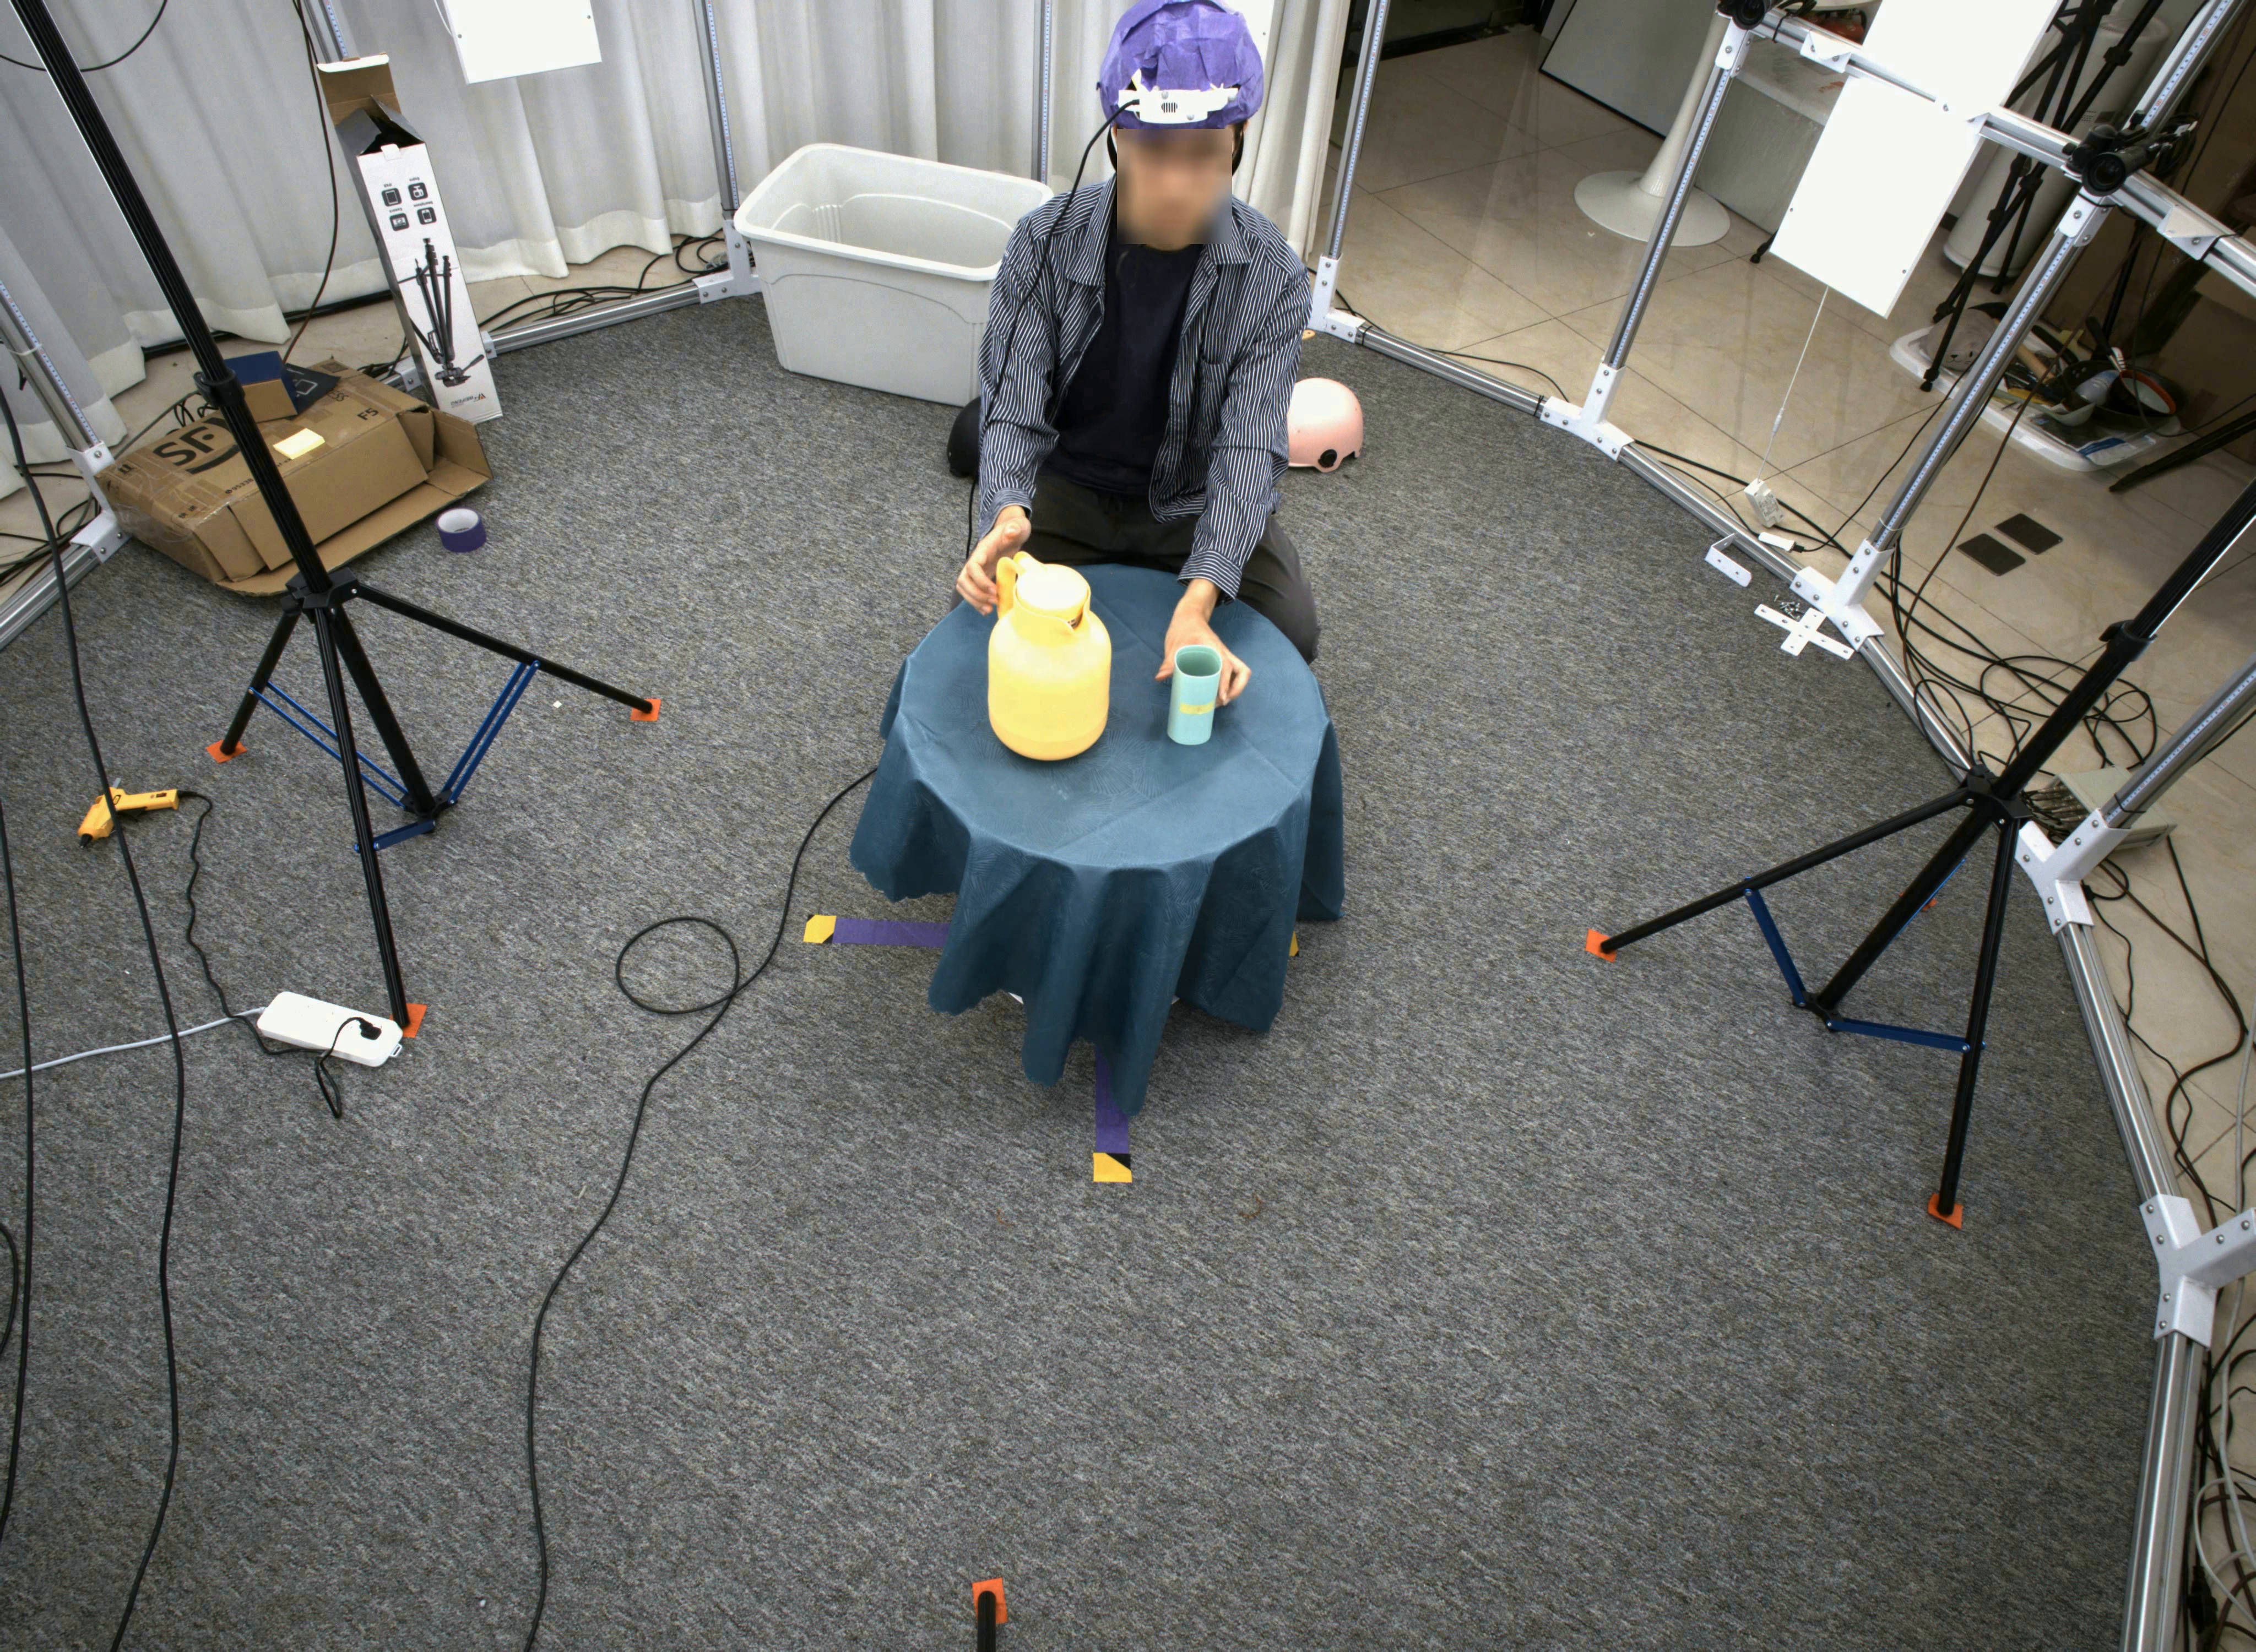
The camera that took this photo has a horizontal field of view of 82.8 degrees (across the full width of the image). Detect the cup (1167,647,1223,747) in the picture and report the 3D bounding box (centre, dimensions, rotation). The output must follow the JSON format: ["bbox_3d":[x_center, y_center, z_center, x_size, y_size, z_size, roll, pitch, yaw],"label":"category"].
[{"bbox_3d":[0.089,-0.175,1.738,0.066,0.129,0.068,2,49,-3],"label":"cup"}]

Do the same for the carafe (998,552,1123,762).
[{"bbox_3d":[-0.097,-0.229,1.681,0.164,0.254,0.206,-25,56,-26],"label":"carafe"}]
